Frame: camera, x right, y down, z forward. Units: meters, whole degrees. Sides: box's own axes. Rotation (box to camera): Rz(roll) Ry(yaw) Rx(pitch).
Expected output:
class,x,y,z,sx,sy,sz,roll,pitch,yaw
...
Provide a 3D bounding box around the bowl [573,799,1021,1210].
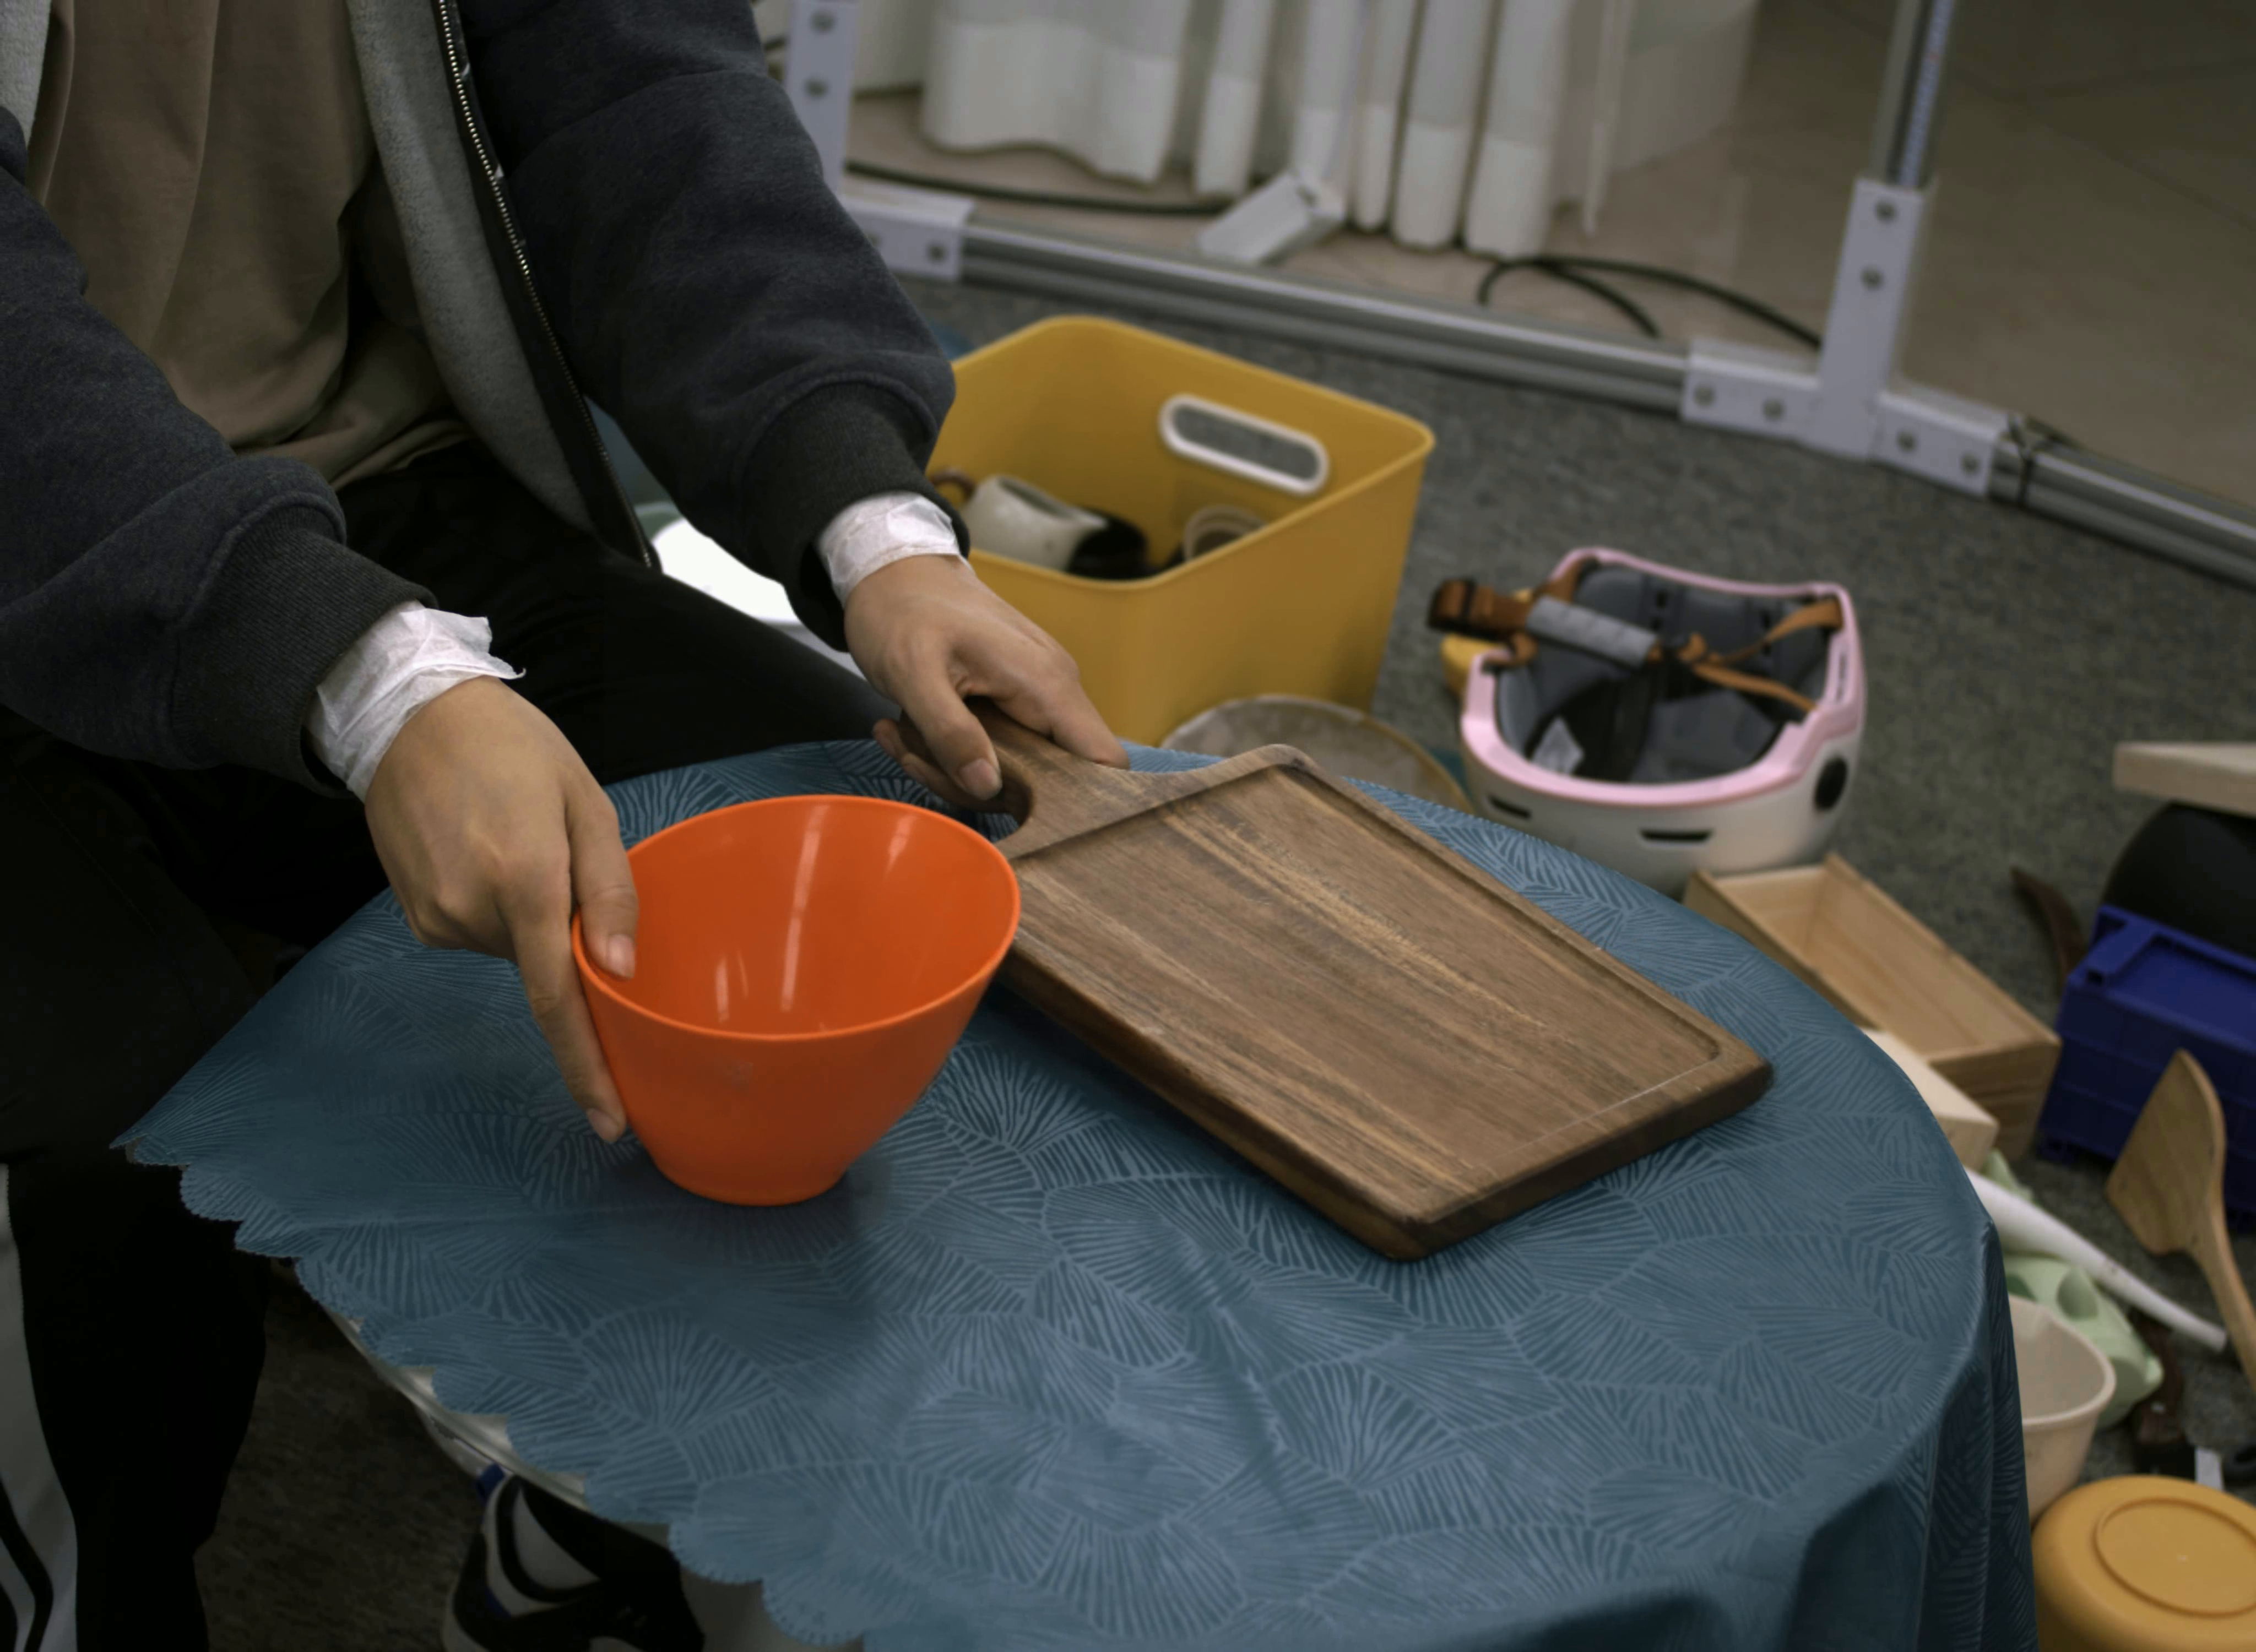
class,x,y,z,sx,sy,sz,roll,pitch,yaw
bowl,-0.113,0.066,1.778,0.147,0.104,0.149,6,27,-3

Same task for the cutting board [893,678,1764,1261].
class,x,y,z,sx,sy,sz,roll,pitch,yaw
cutting board,0.041,0.034,1.931,0.200,0.023,0.355,-20,42,-41
